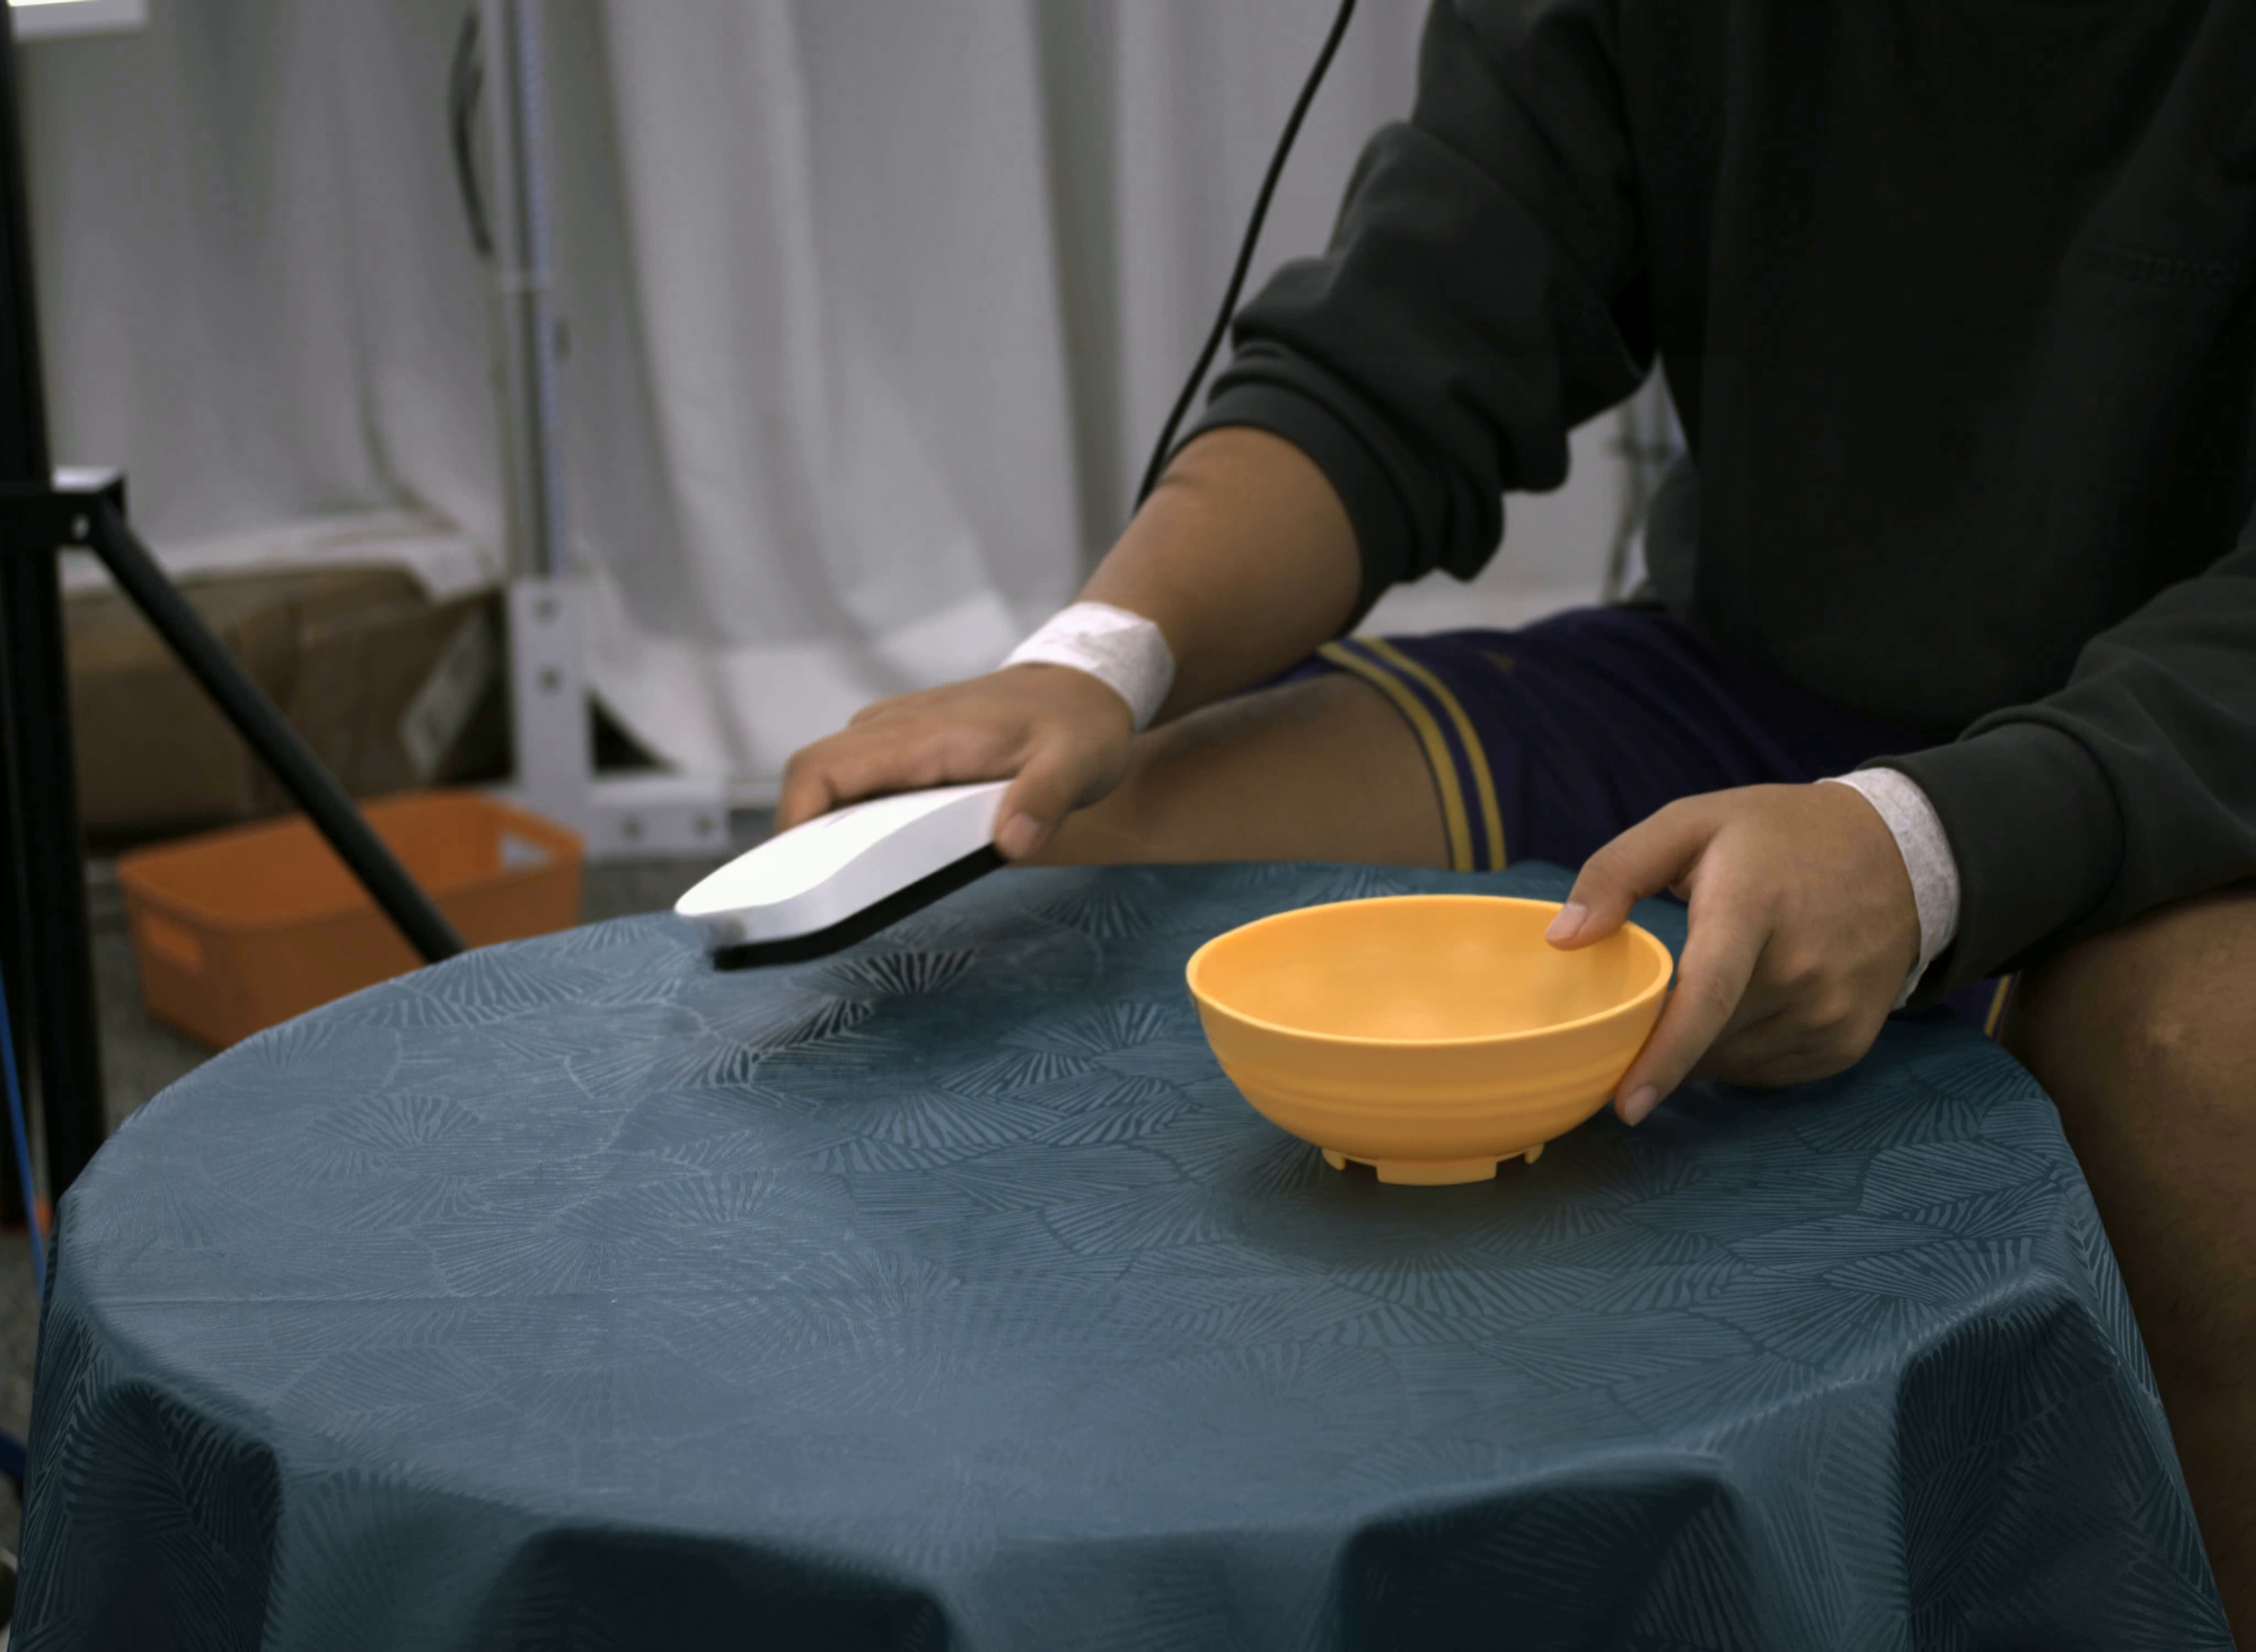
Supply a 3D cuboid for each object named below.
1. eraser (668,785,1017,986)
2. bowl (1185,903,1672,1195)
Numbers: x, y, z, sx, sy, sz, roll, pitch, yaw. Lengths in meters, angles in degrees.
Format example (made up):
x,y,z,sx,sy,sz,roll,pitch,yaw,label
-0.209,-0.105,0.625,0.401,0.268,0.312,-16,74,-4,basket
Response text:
x,y,z,sx,sy,sz,roll,pitch,yaw,label
-0.090,0.015,1.731,0.064,0.034,0.129,-7,15,39,eraser
0.089,0.071,1.576,0.144,0.060,0.146,-1,15,-1,bowl
